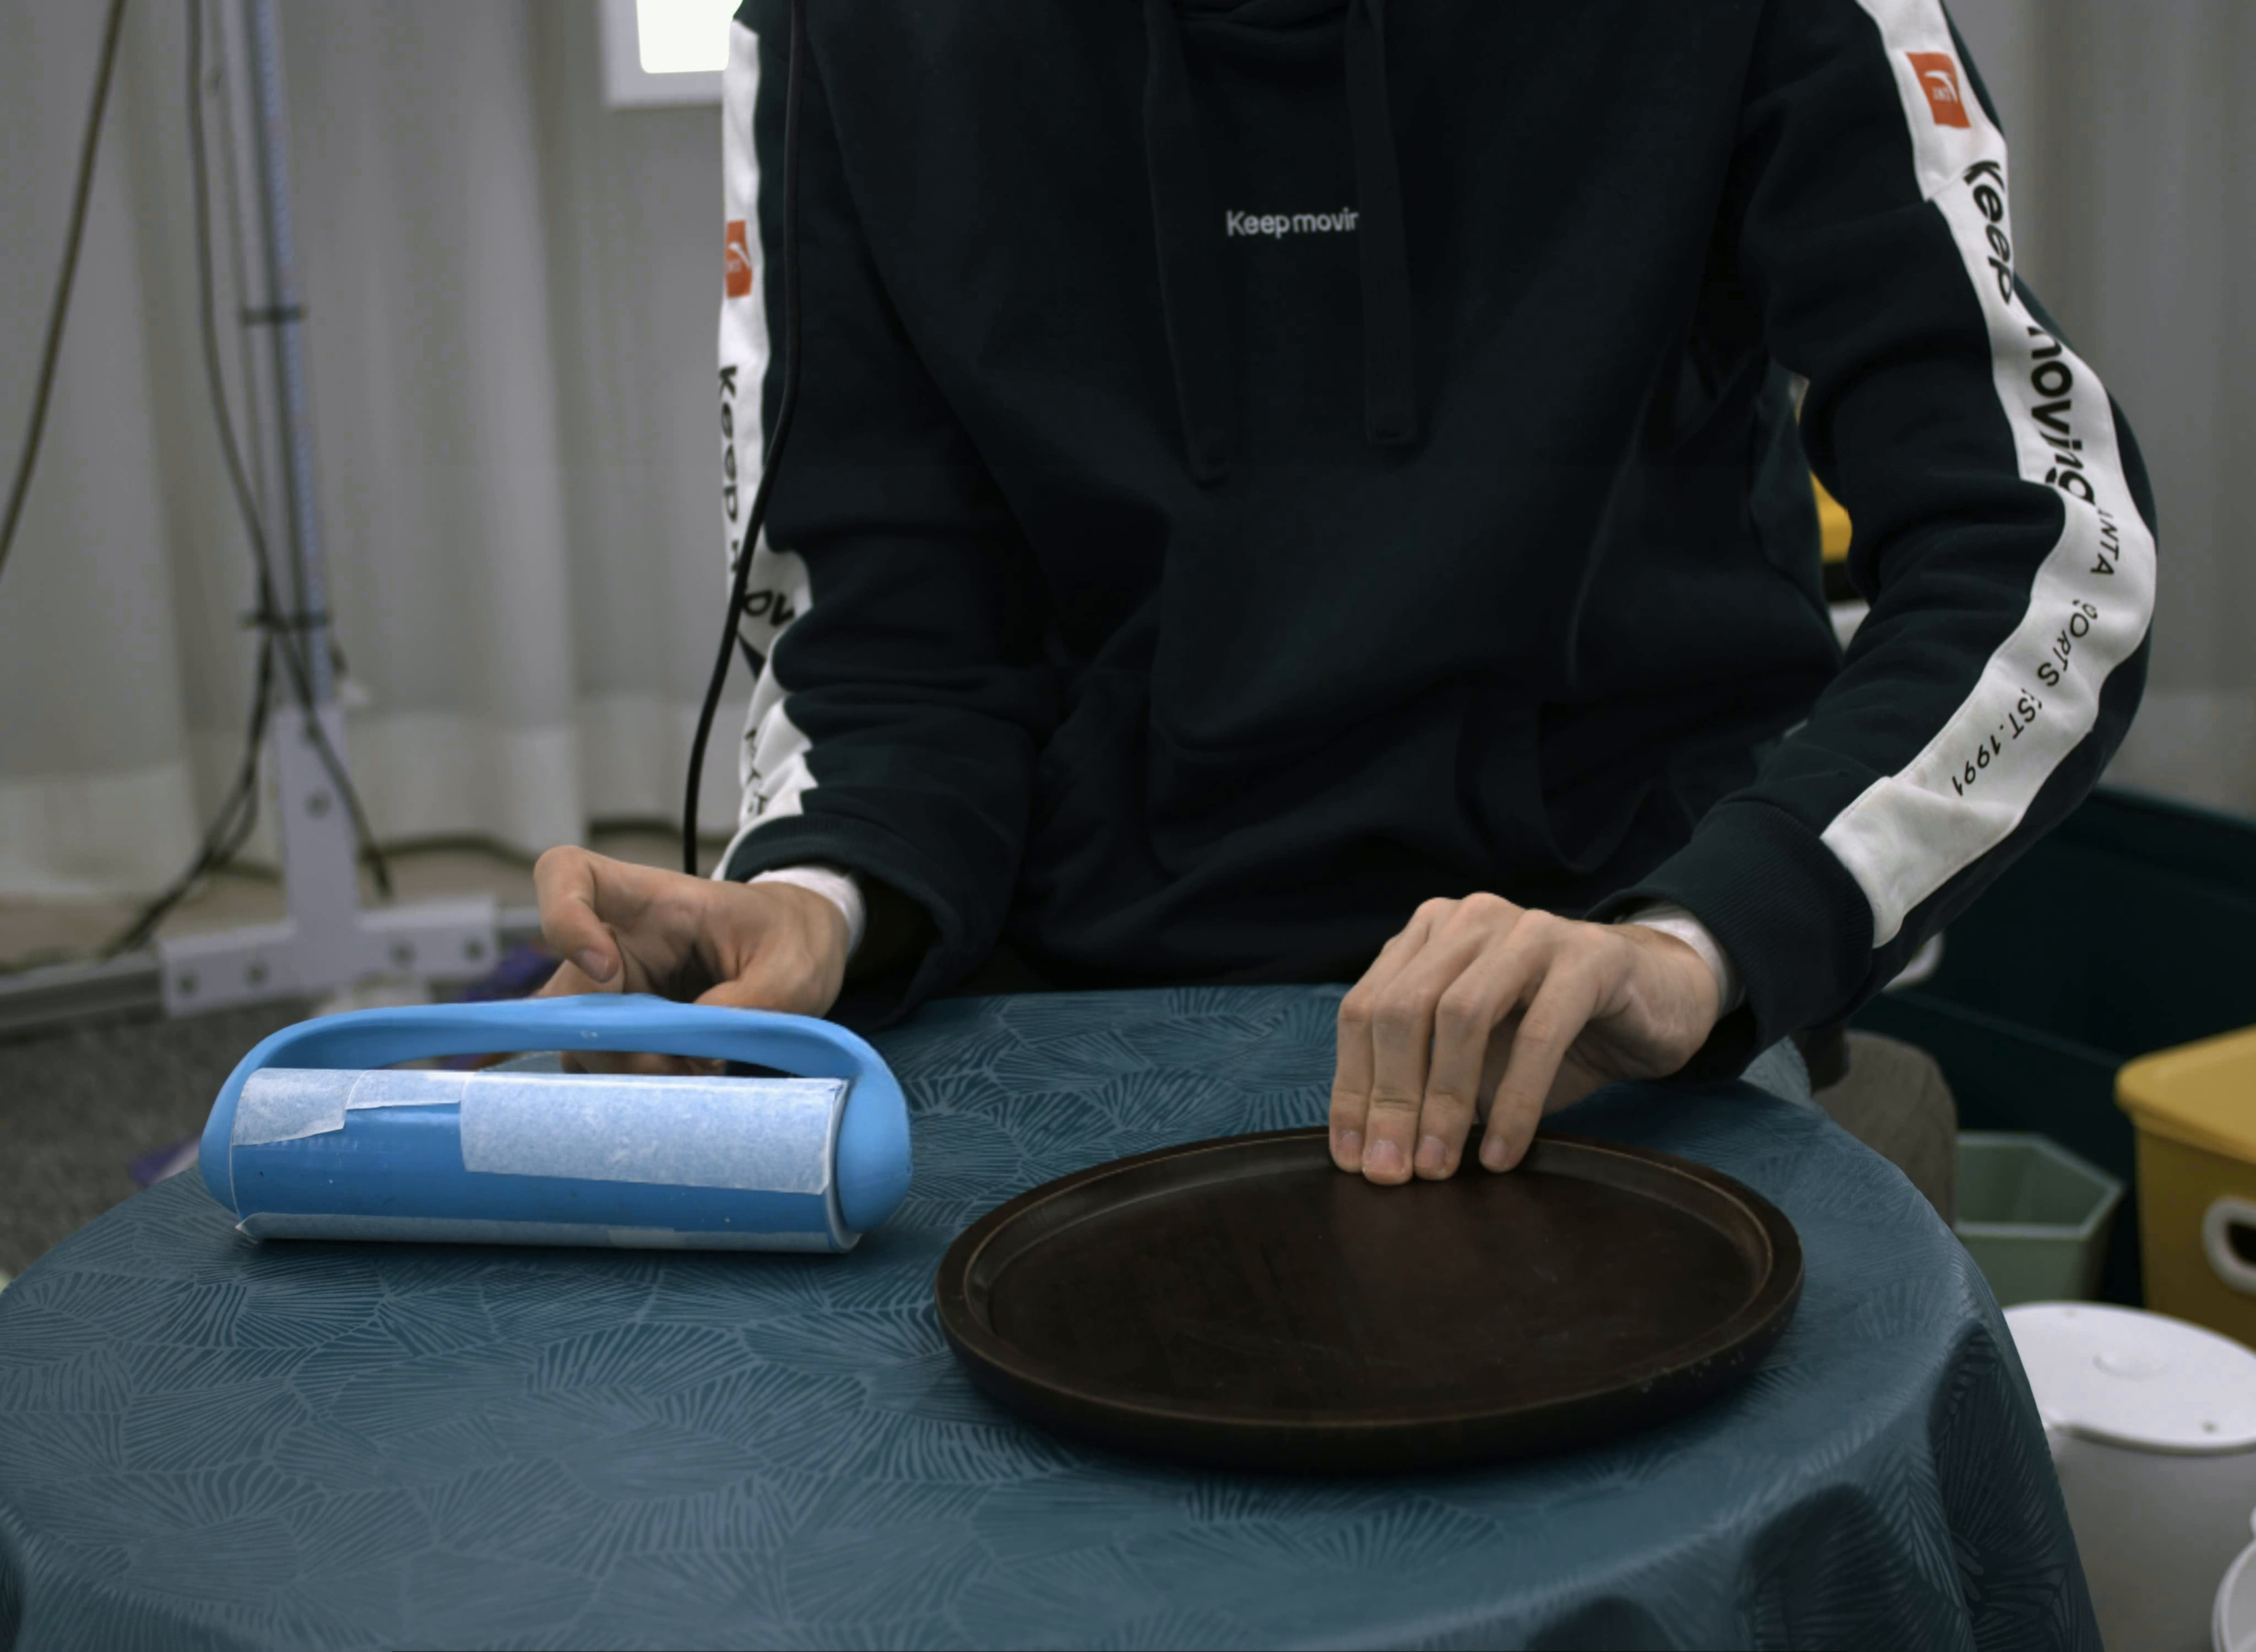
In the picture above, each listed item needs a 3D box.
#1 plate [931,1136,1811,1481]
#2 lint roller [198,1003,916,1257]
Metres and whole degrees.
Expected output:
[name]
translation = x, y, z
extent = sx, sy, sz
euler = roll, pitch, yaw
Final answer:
[plate]
translation = 0.070, 0.136, 1.576
extent = 0.254, 0.029, 0.256
euler = -2, 16, 0
[lint roller]
translation = -0.168, 0.087, 1.743
extent = 0.228, 0.067, 0.181
euler = -2, 16, 10
